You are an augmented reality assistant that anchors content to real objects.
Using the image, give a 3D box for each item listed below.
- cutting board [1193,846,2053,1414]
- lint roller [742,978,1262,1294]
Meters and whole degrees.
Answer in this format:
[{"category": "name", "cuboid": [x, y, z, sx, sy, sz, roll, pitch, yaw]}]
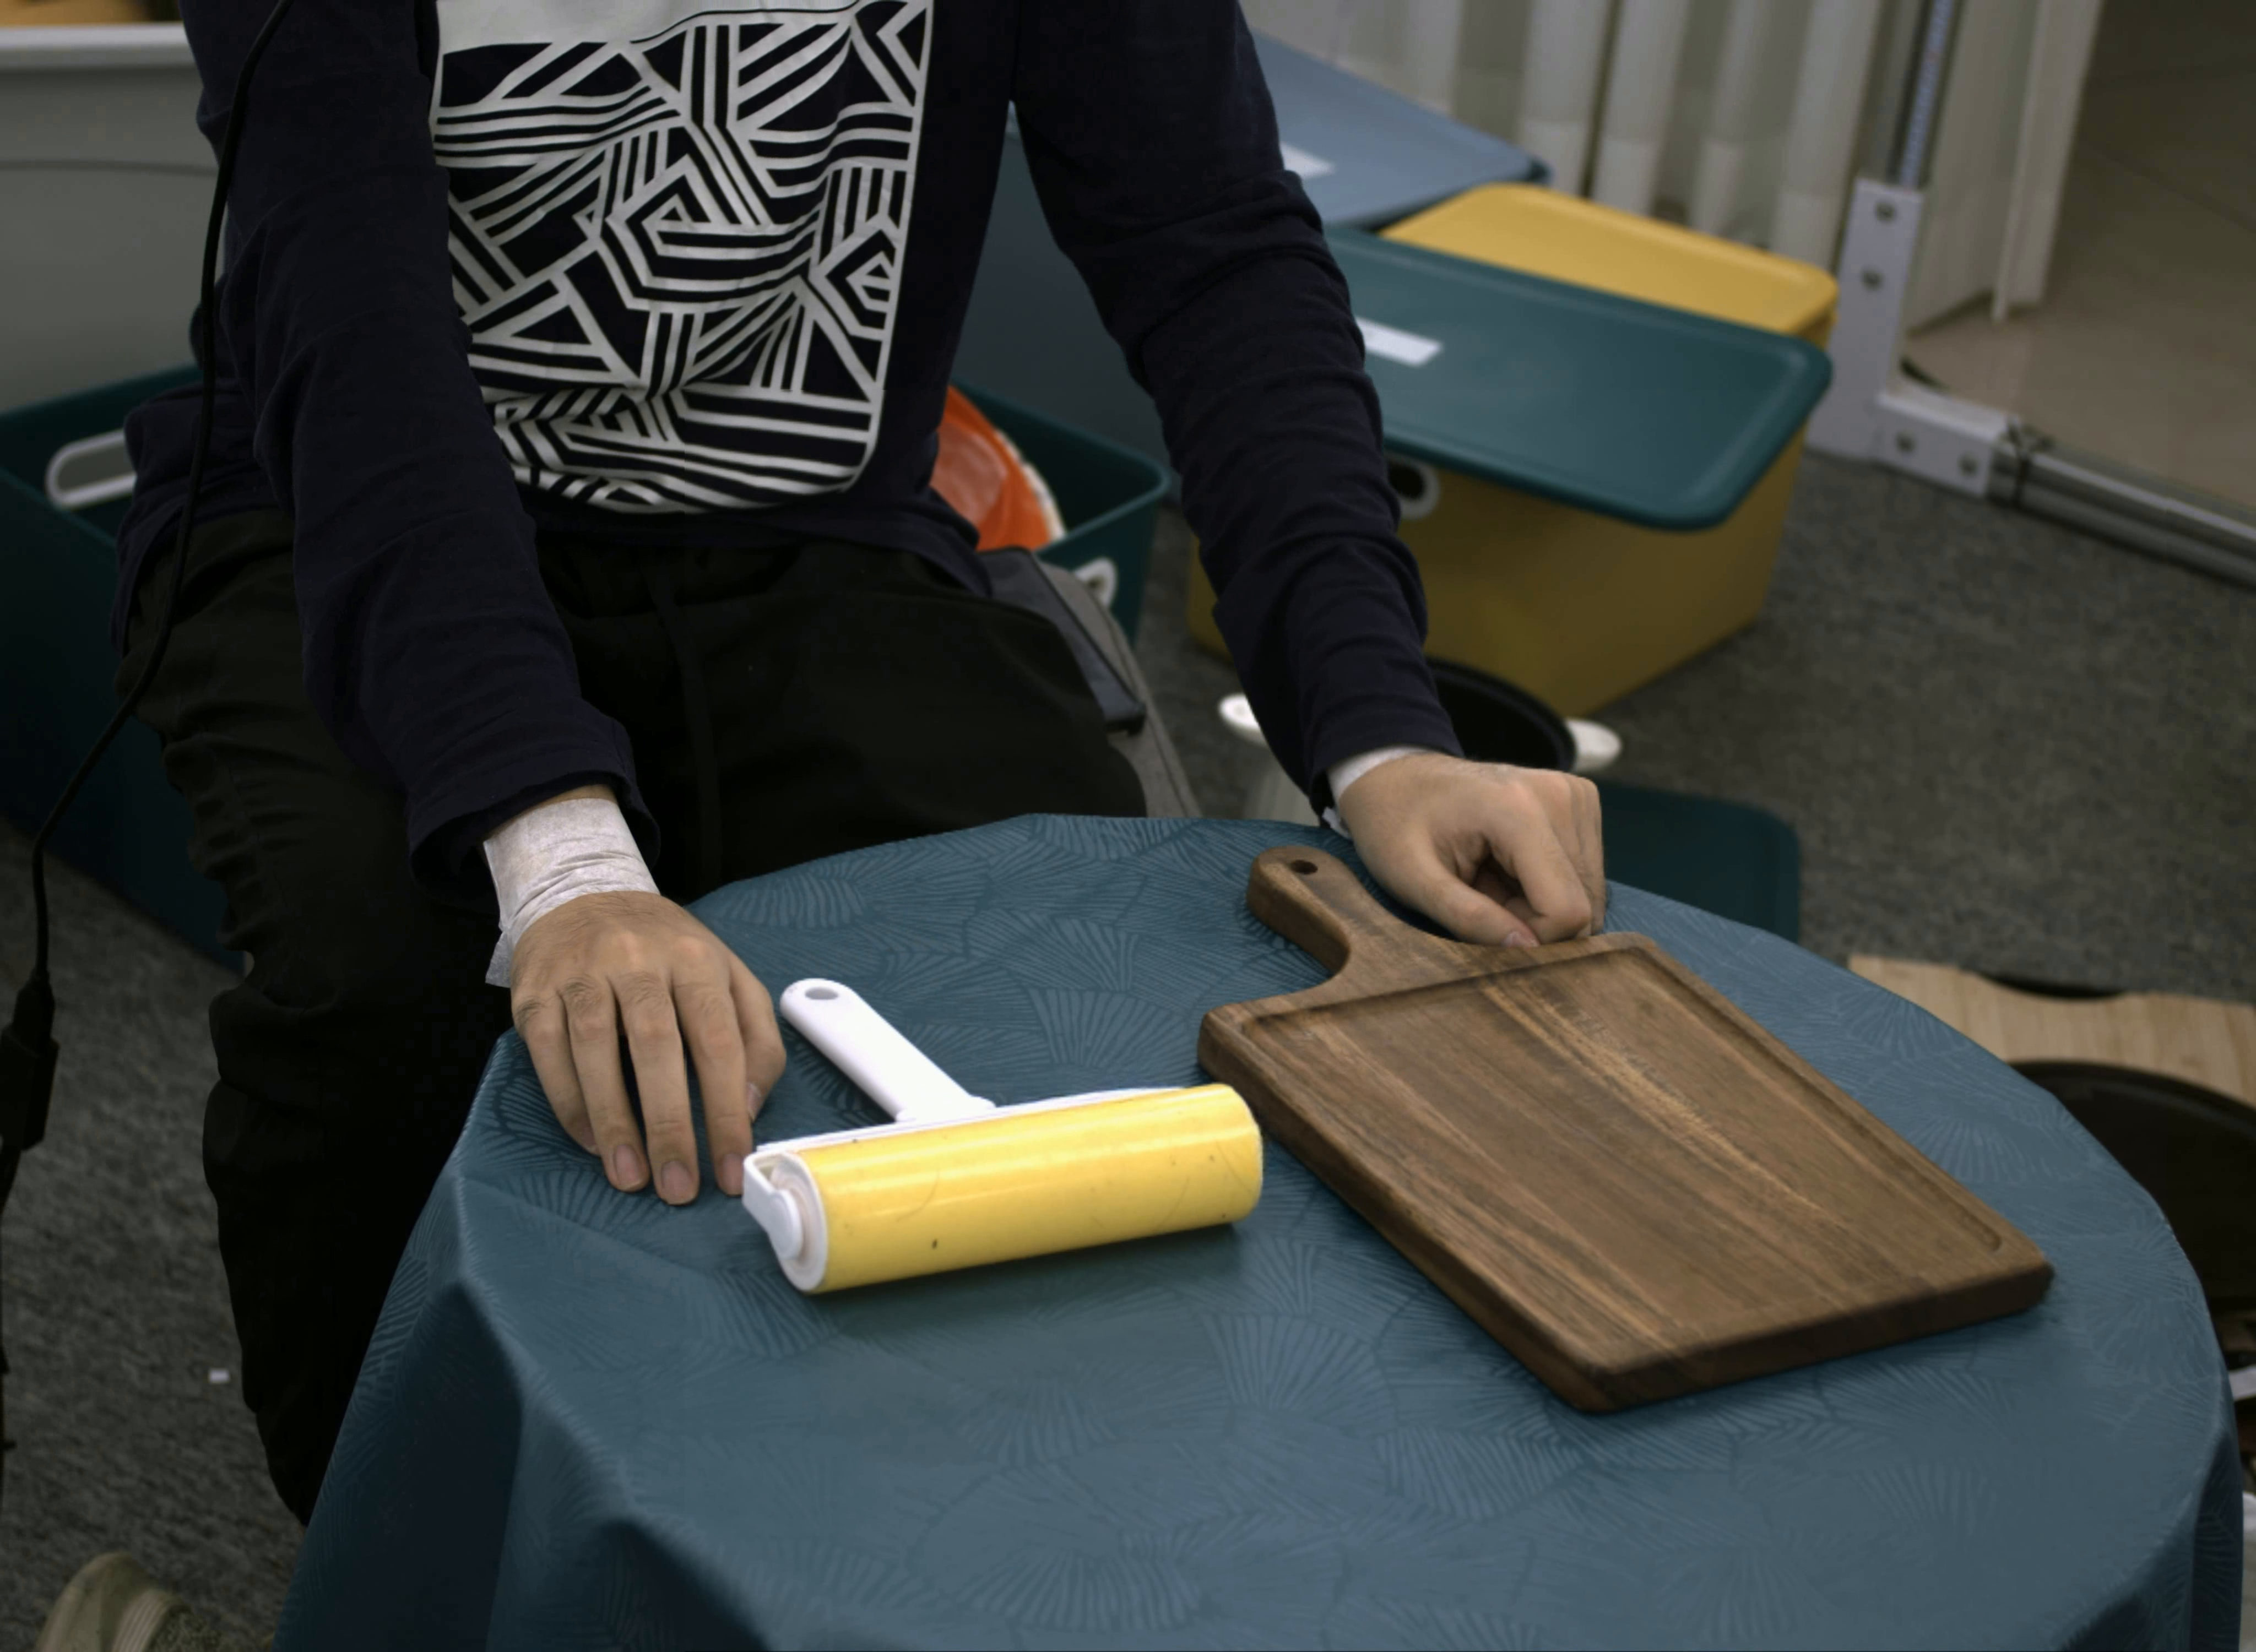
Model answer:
[{"category": "cutting board", "cuboid": [0.143, 0.092, 1.877, 0.200, 0.023, 0.355, -10, 30, -29]}, {"category": "lint roller", "cuboid": [-0.071, 0.087, 1.808, 0.173, 0.051, 0.194, -7, 33, -28]}]
